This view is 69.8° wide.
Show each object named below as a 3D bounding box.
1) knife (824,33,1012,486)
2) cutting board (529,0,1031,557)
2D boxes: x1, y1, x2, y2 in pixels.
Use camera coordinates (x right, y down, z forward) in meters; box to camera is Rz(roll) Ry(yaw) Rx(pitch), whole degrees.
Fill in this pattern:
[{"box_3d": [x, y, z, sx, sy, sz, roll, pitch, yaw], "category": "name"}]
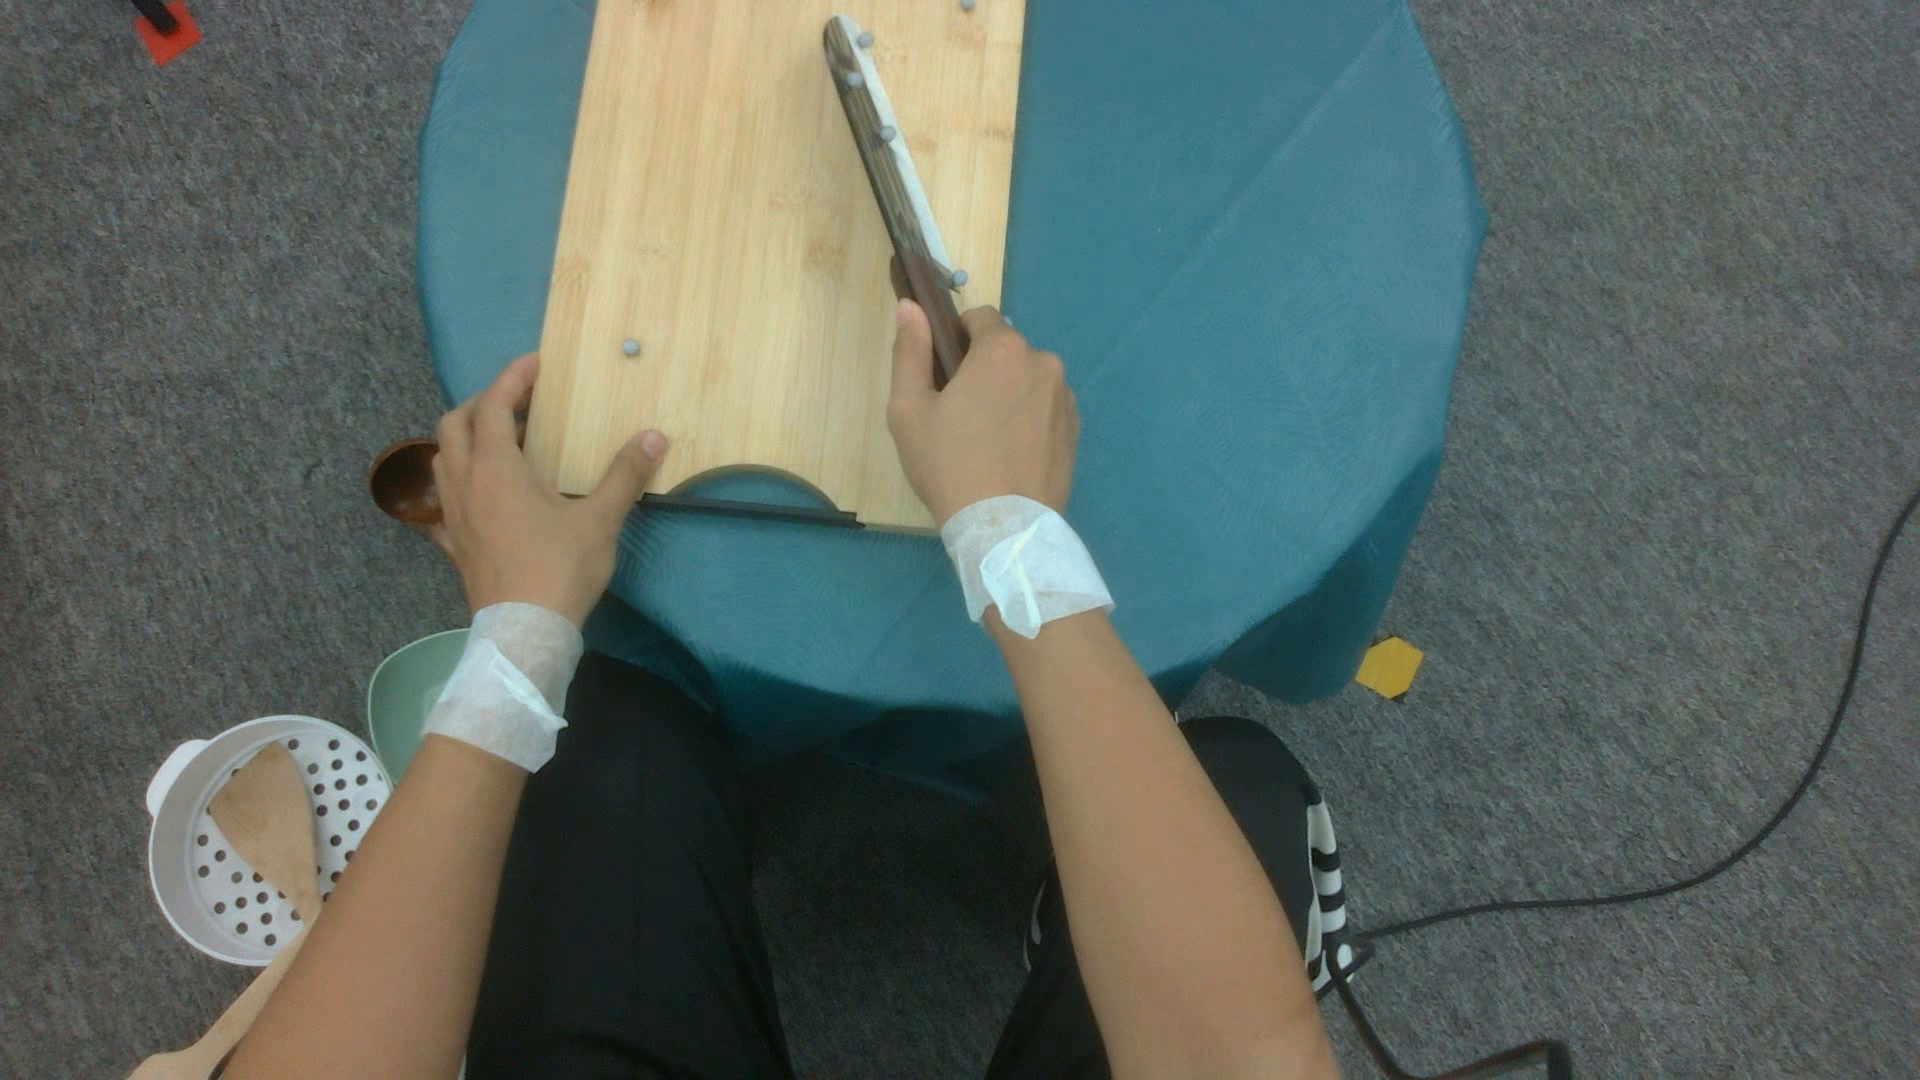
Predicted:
[{"box_3d": [-0.023, -0.158, 0.727, 0.024, 0.068, 0.300, -28, 70, 23], "category": "knife"}, {"box_3d": [-0.093, -0.168, 0.778, 0.251, 0.023, 0.349, 4, 75, -2], "category": "cutting board"}]
